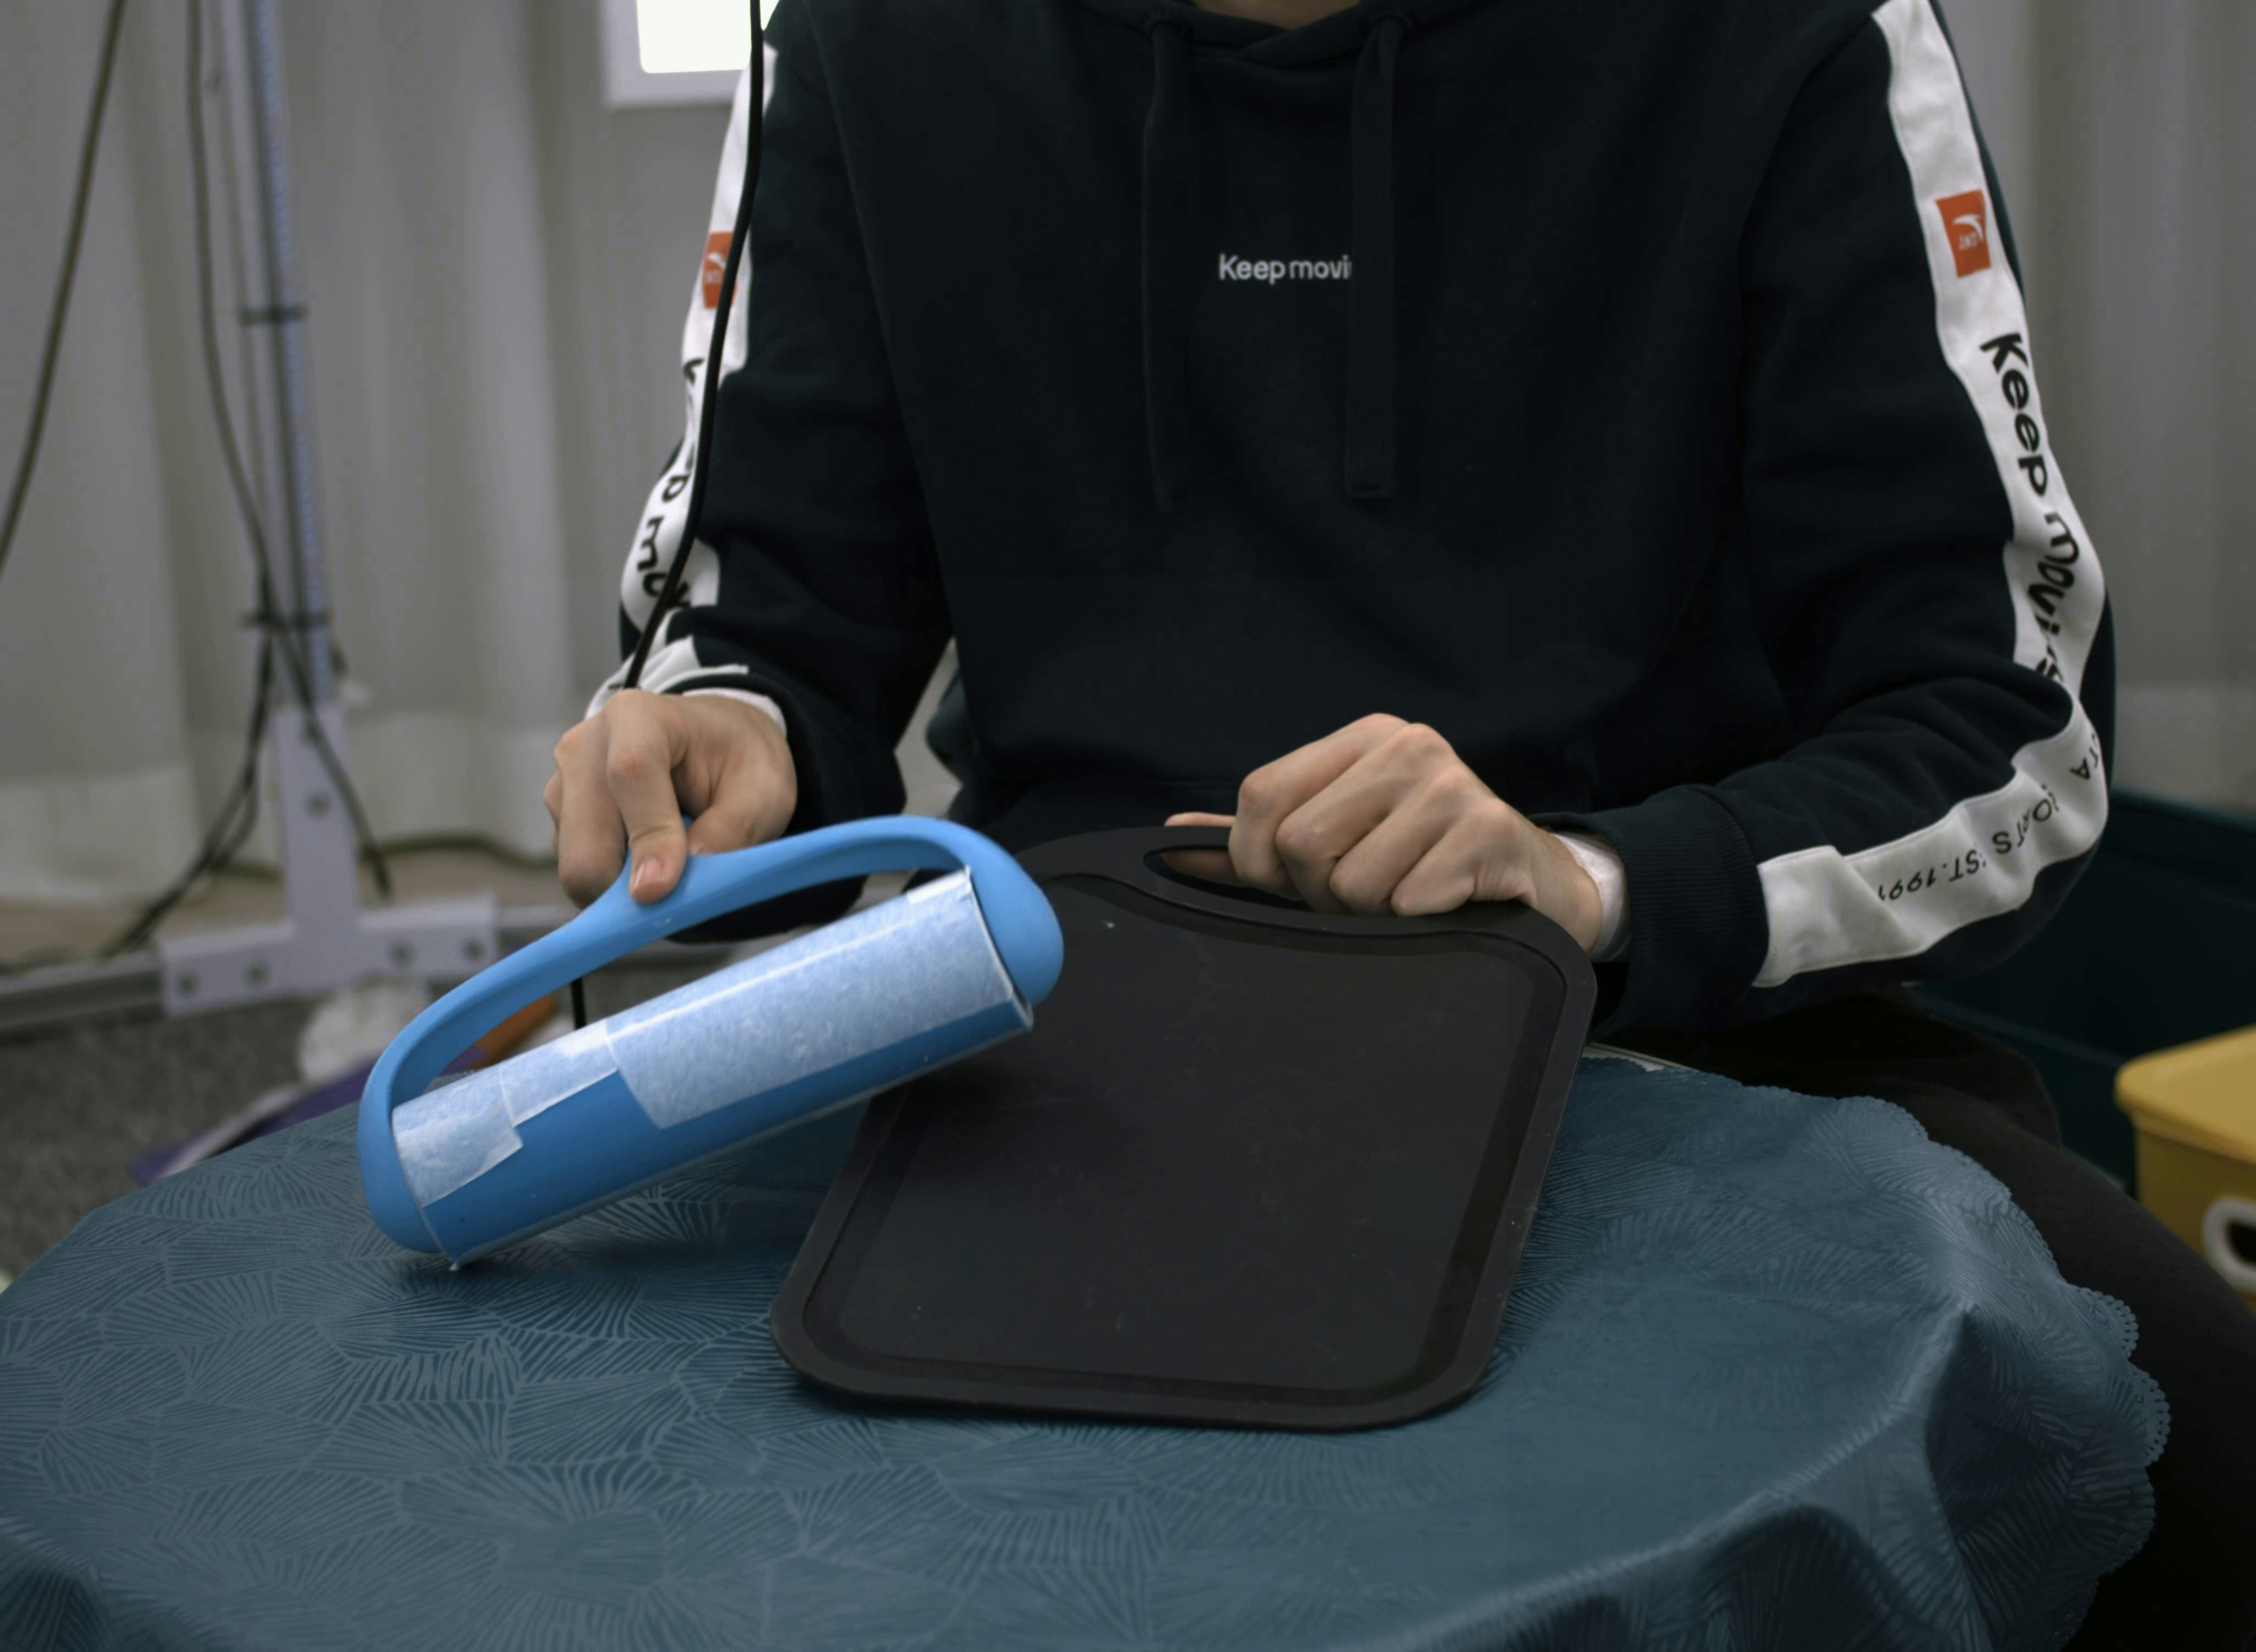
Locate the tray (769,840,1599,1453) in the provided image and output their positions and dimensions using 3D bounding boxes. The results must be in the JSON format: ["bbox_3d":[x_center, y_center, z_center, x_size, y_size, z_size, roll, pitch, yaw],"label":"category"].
[{"bbox_3d":[0.024,0.085,1.656,0.211,0.010,0.329,5,30,12],"label":"tray"}]

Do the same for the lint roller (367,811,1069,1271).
[{"bbox_3d":[-0.139,0.041,1.721,0.228,0.067,0.183,-26,35,1],"label":"lint roller"}]
